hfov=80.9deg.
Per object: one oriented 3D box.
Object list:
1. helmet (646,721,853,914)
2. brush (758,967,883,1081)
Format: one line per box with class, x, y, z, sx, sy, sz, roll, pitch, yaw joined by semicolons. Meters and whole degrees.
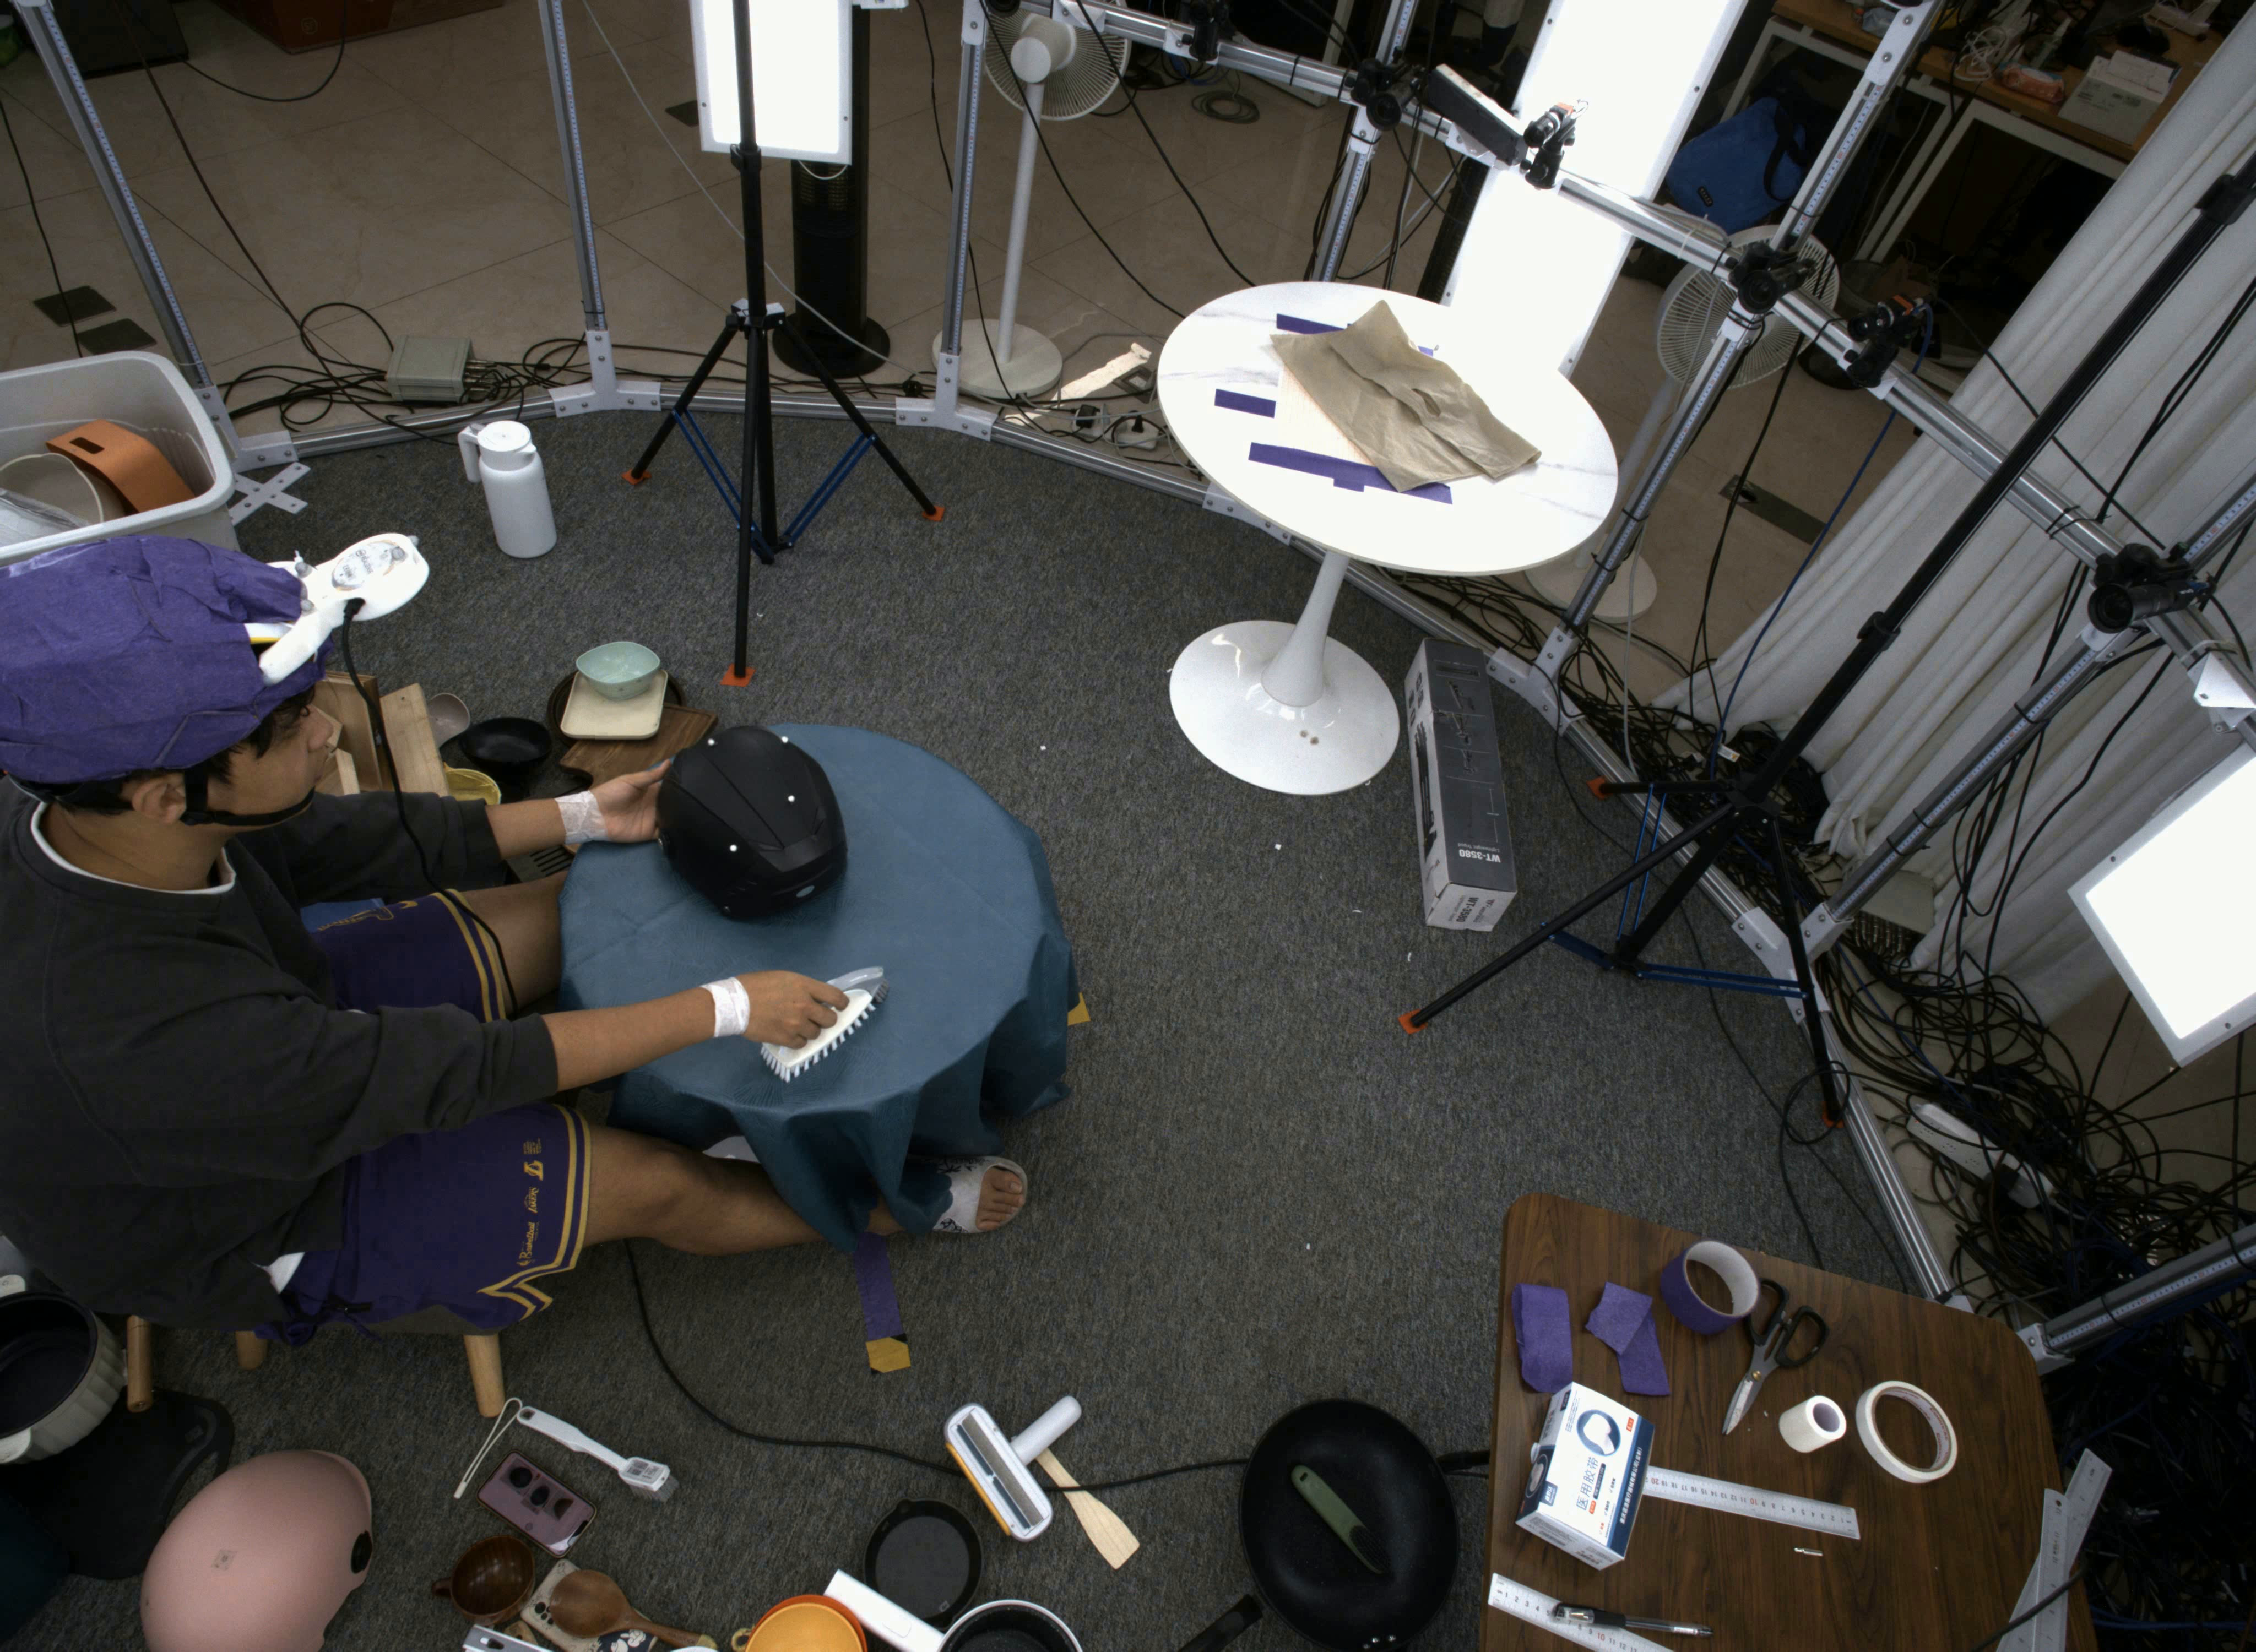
helmet;-0.475;-0.028;1.634;0.248;0.175;0.271;-28;68;-31
brush;-0.354;0.212;1.529;0.060;0.096;0.176;41;53;18
